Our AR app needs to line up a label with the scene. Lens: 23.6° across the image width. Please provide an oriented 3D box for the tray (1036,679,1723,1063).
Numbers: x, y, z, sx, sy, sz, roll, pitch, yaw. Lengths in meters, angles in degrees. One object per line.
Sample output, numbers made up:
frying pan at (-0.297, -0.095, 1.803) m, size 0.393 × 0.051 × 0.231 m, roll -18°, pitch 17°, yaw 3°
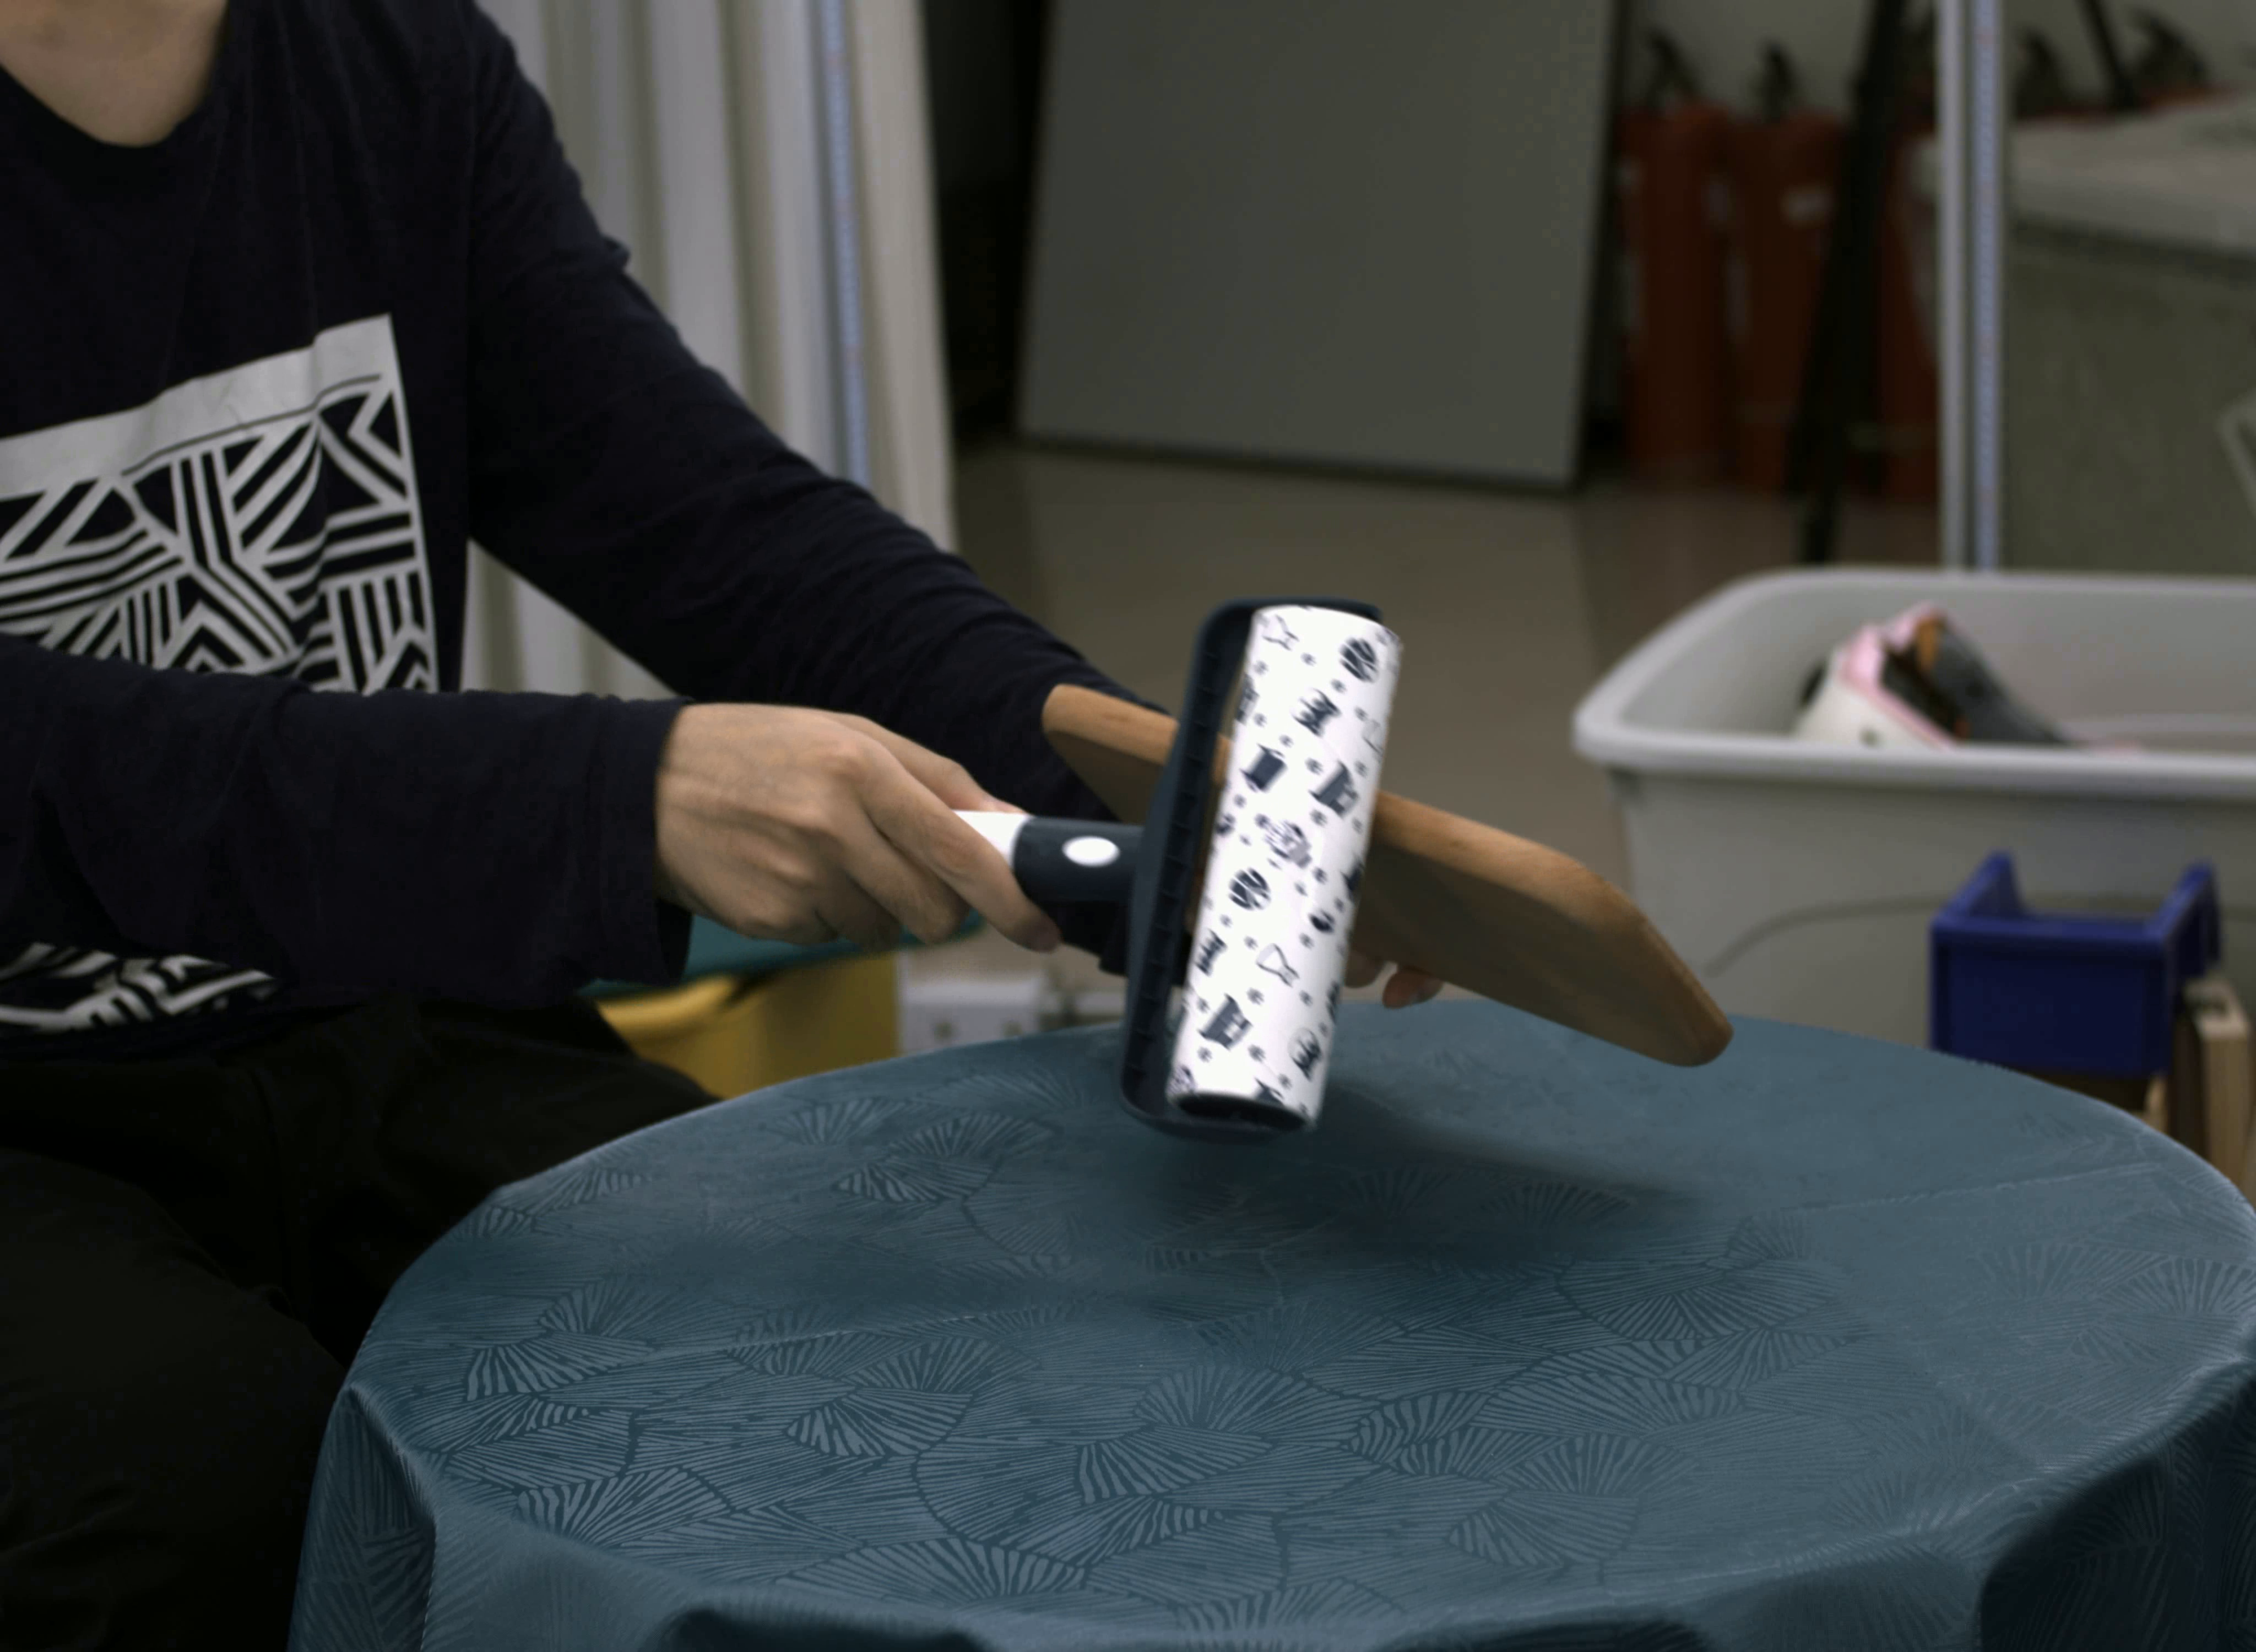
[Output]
tray at (0.078, 0.015, 1.761) m, size 0.253 × 0.129 × 0.023 m, roll 18°, pitch 67°, yaw 42°

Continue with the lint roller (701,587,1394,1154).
lint roller at (-0.038, 0.012, 1.724) m, size 0.248 × 0.178 × 0.049 m, roll 1°, pitch -17°, yaw 31°
